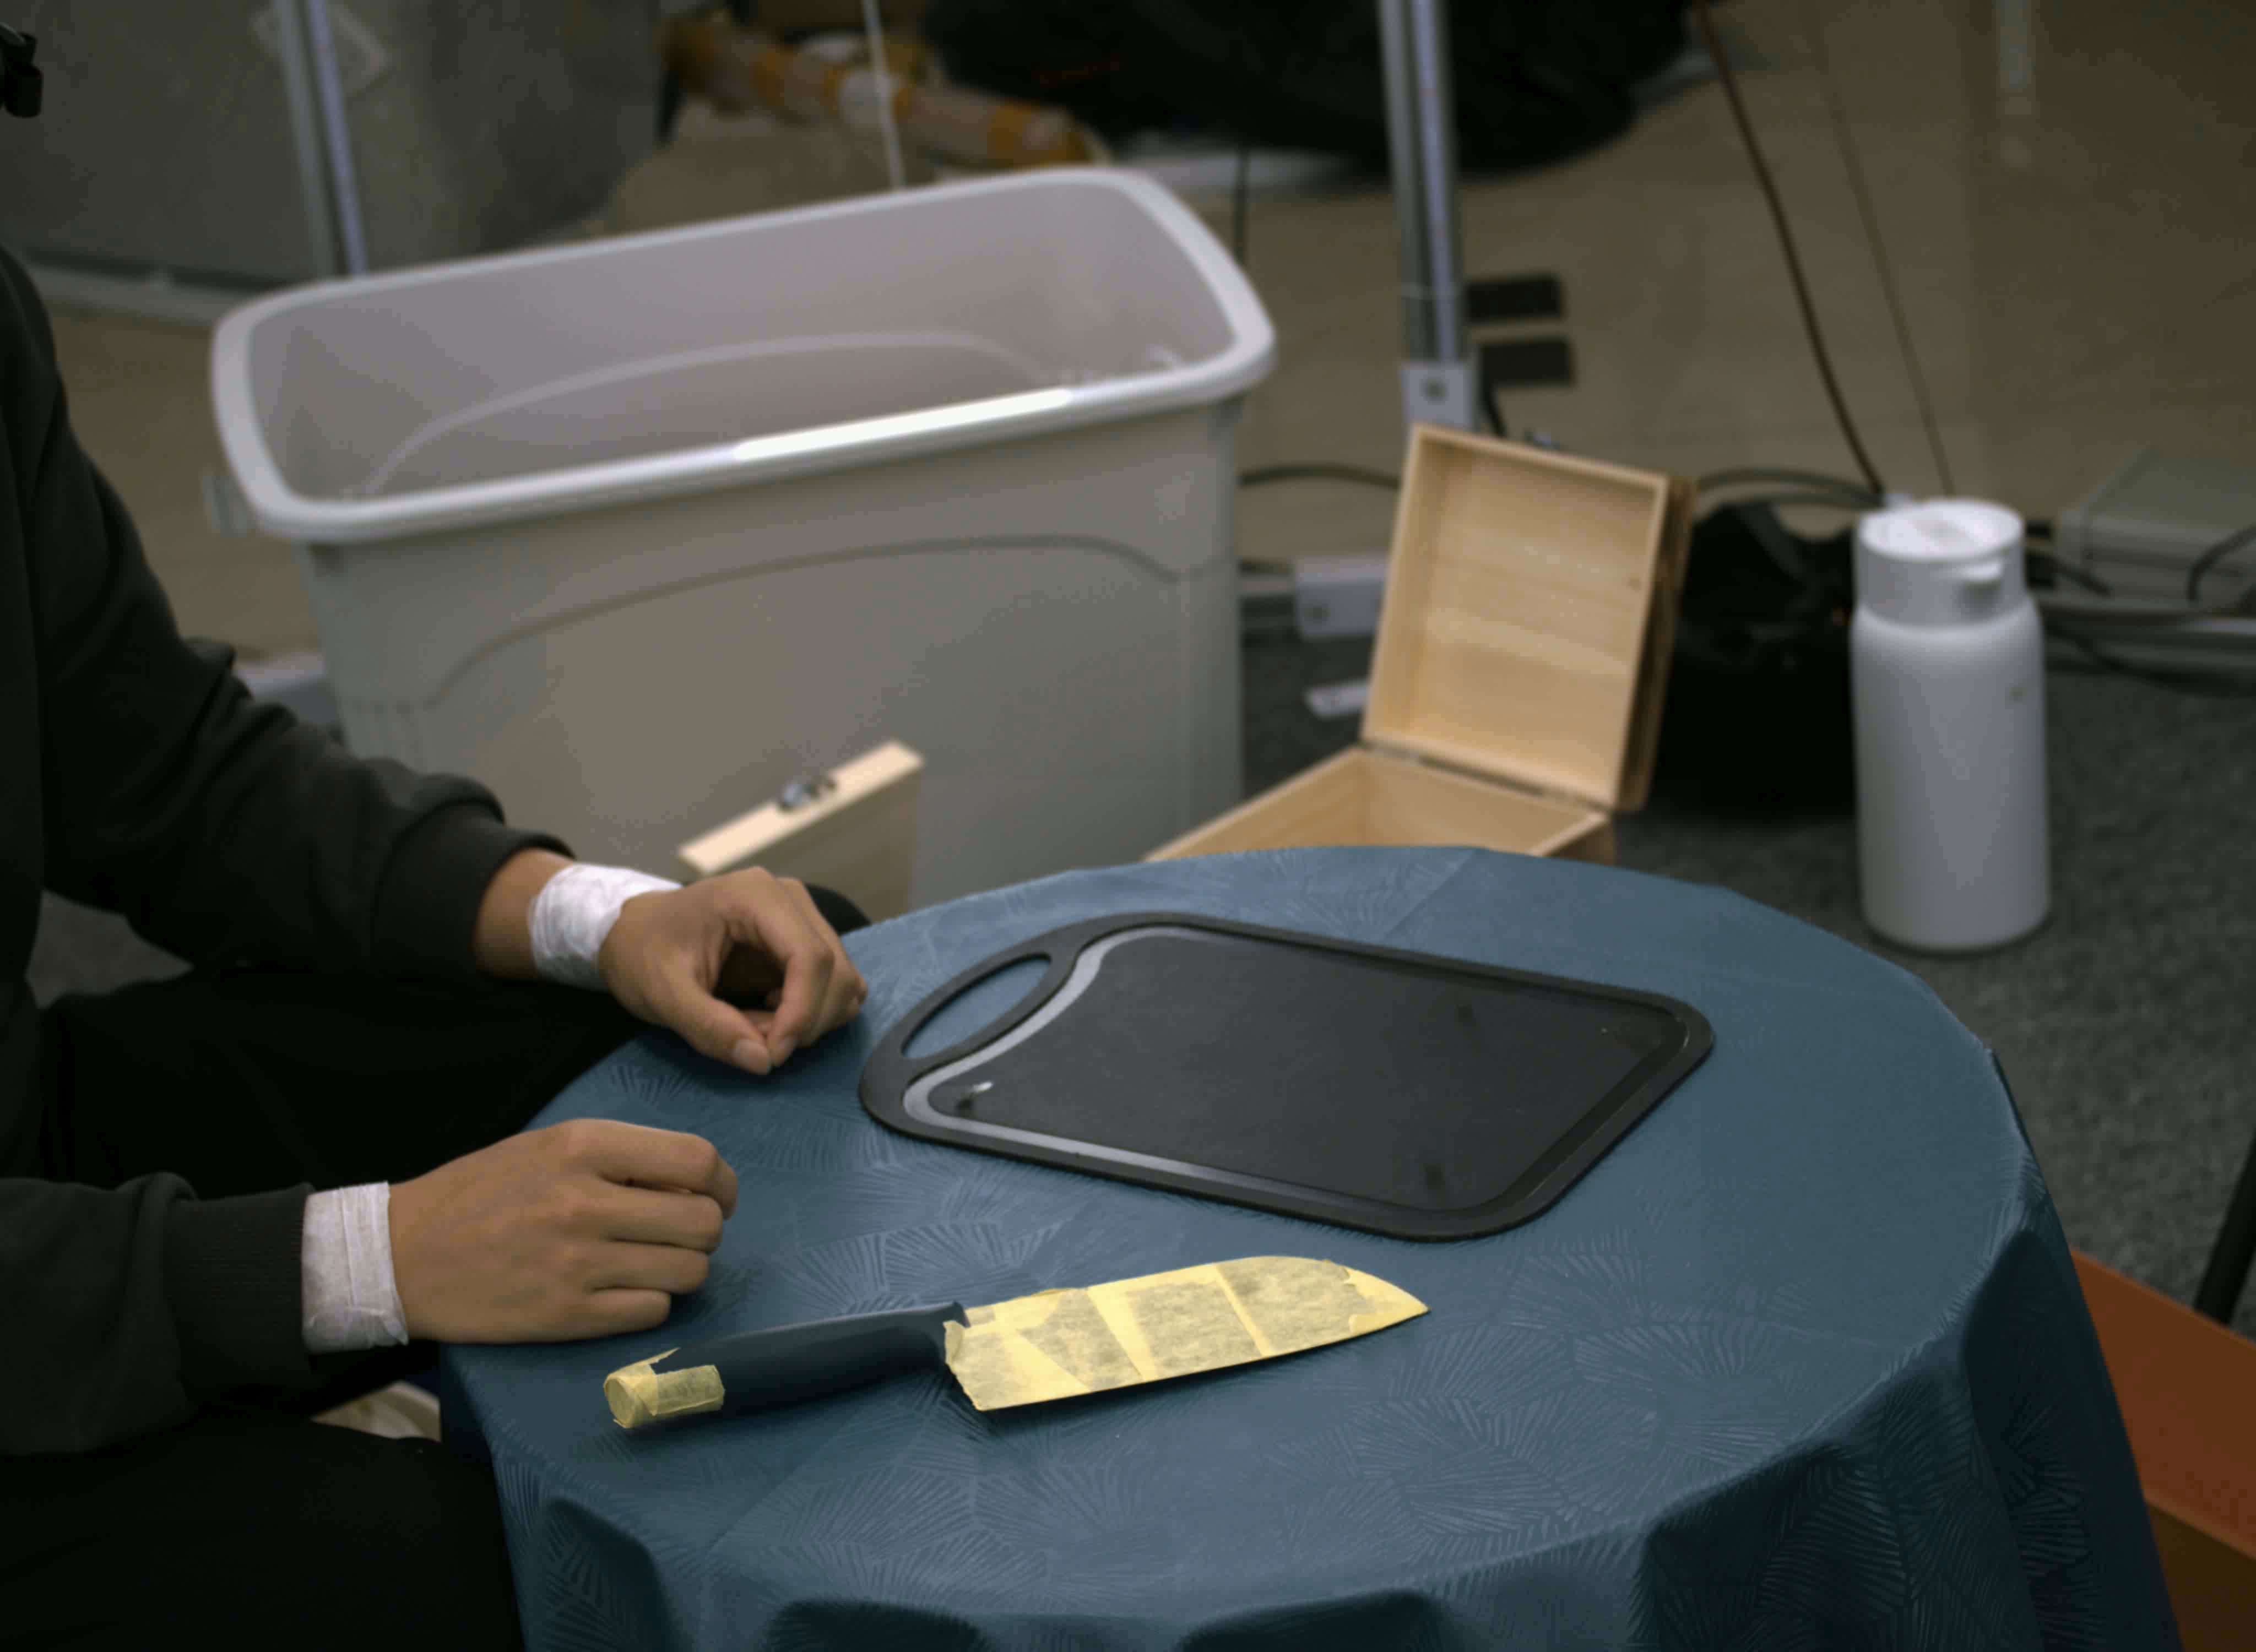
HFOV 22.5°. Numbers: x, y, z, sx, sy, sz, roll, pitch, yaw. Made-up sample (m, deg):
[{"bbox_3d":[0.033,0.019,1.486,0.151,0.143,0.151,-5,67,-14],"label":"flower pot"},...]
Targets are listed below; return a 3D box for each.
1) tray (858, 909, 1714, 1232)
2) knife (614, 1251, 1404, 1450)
[{"bbox_3d":[0.053,0.091,2.233,0.324,0.010,0.209,10,29,32],"label":"tray"},{"bbox_3d":[-0.040,0.189,2.036,0.289,0.027,0.080,-10,24,-10],"label":"knife"}]
